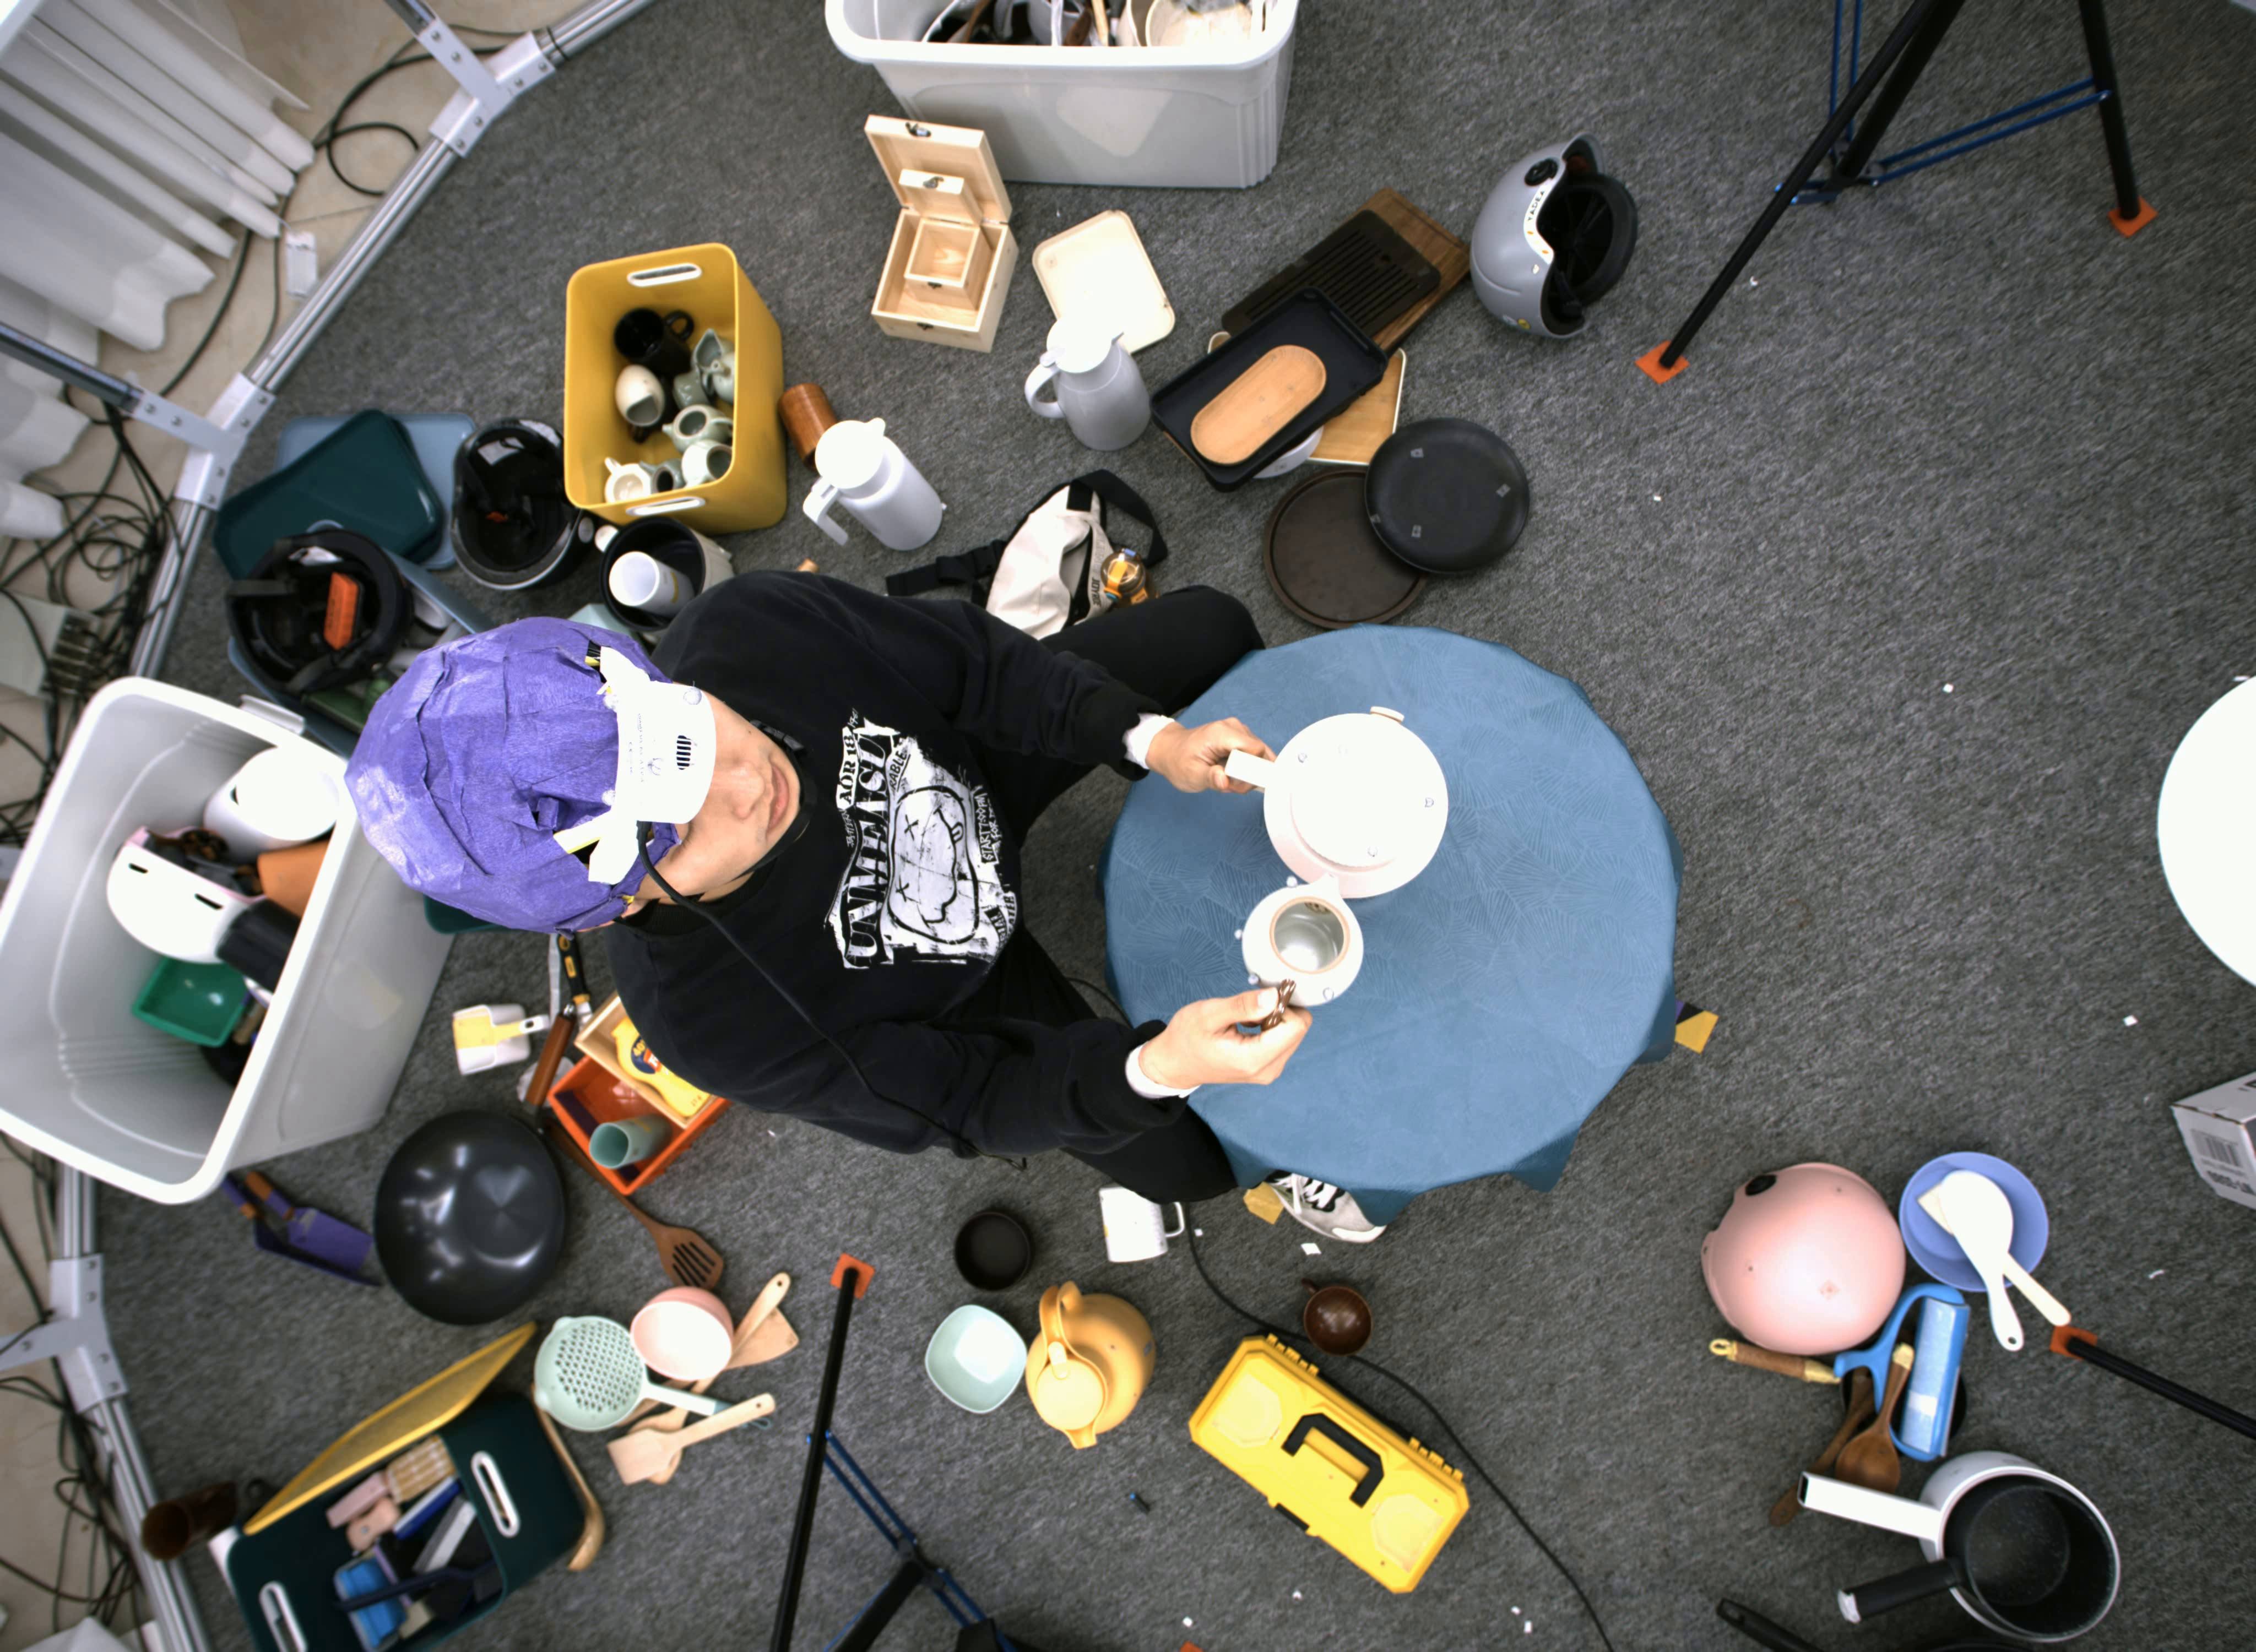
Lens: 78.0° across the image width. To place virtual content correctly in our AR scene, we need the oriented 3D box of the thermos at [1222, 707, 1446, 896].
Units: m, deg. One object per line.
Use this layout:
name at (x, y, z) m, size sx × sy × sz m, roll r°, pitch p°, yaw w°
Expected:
thermos at (0.193, -0.024, 1.273) m, size 0.207 × 0.404 × 0.176 m, roll 19°, pitch 94°, yaw 8°

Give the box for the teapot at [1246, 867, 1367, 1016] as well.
teapot at (0.130, 0.089, 1.052) m, size 0.091 × 0.059 × 0.128 m, roll 33°, pitch 95°, yaw 21°
